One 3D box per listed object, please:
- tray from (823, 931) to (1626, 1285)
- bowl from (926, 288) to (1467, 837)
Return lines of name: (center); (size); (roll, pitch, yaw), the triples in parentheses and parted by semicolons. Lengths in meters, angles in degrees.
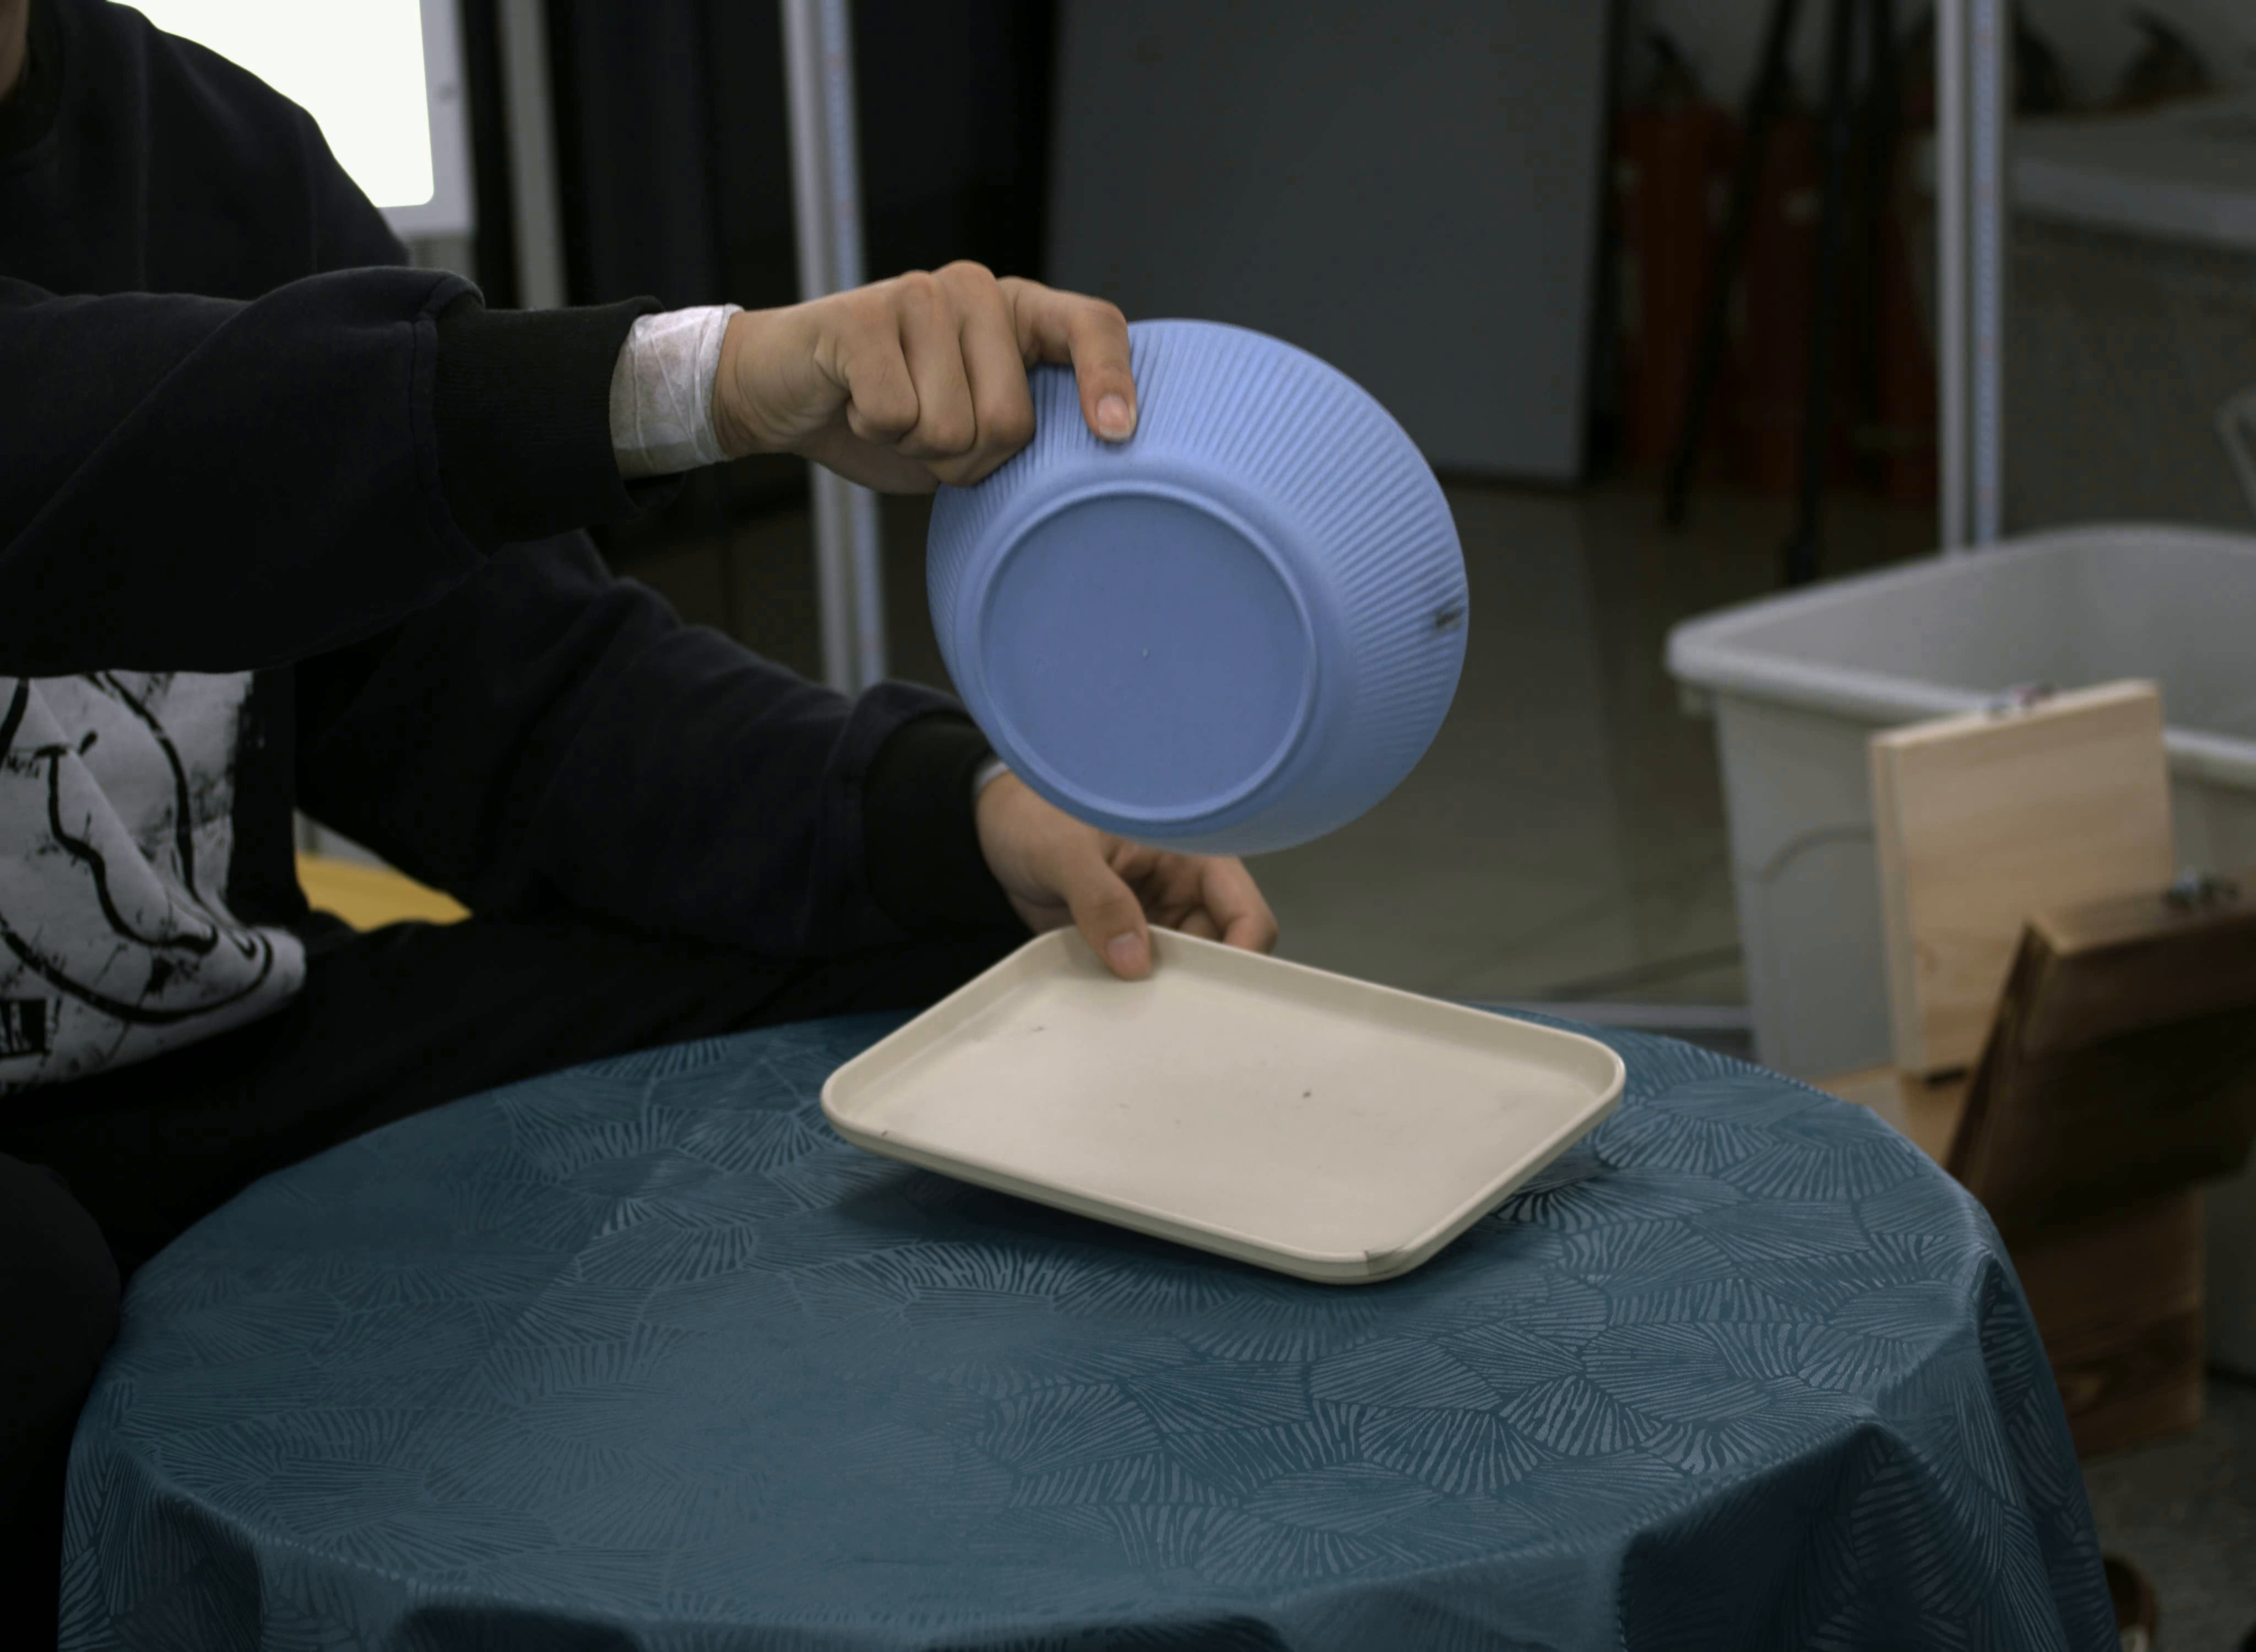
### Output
tray: (0.031, 0.091, 1.770); (0.241, 0.017, 0.168); (13, 29, 35)
bowl: (0.013, -0.070, 1.652); (0.175, 0.178, 0.070); (1, 19, 17)
